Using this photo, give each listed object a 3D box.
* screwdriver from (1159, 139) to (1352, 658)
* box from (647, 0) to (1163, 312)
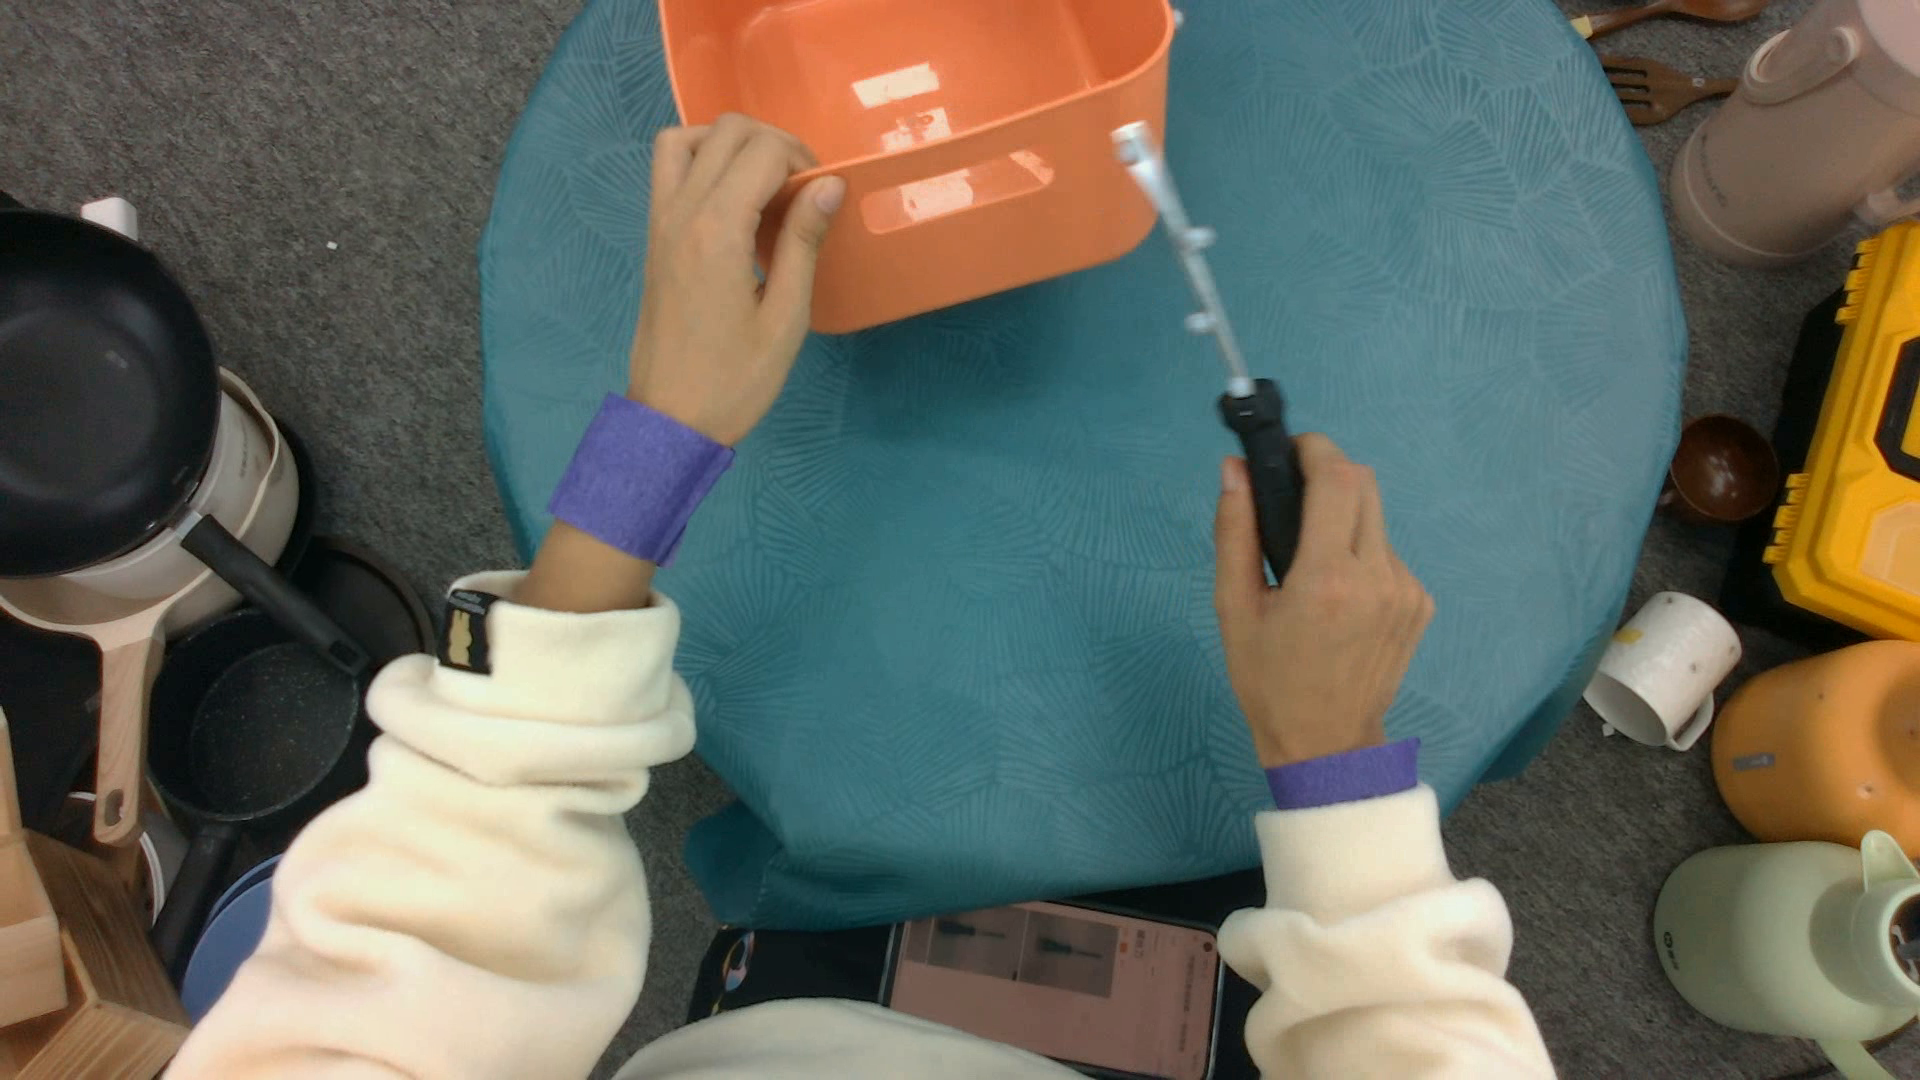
[{"bbox_3d":[0.100,-0.045,0.489,0.031,0.031,0.197,-27,107,-7],"label":"screwdriver"},{"bbox_3d":[-0.032,-0.232,0.622,0.199,0.102,0.274,-14,54,-2],"label":"box"}]
